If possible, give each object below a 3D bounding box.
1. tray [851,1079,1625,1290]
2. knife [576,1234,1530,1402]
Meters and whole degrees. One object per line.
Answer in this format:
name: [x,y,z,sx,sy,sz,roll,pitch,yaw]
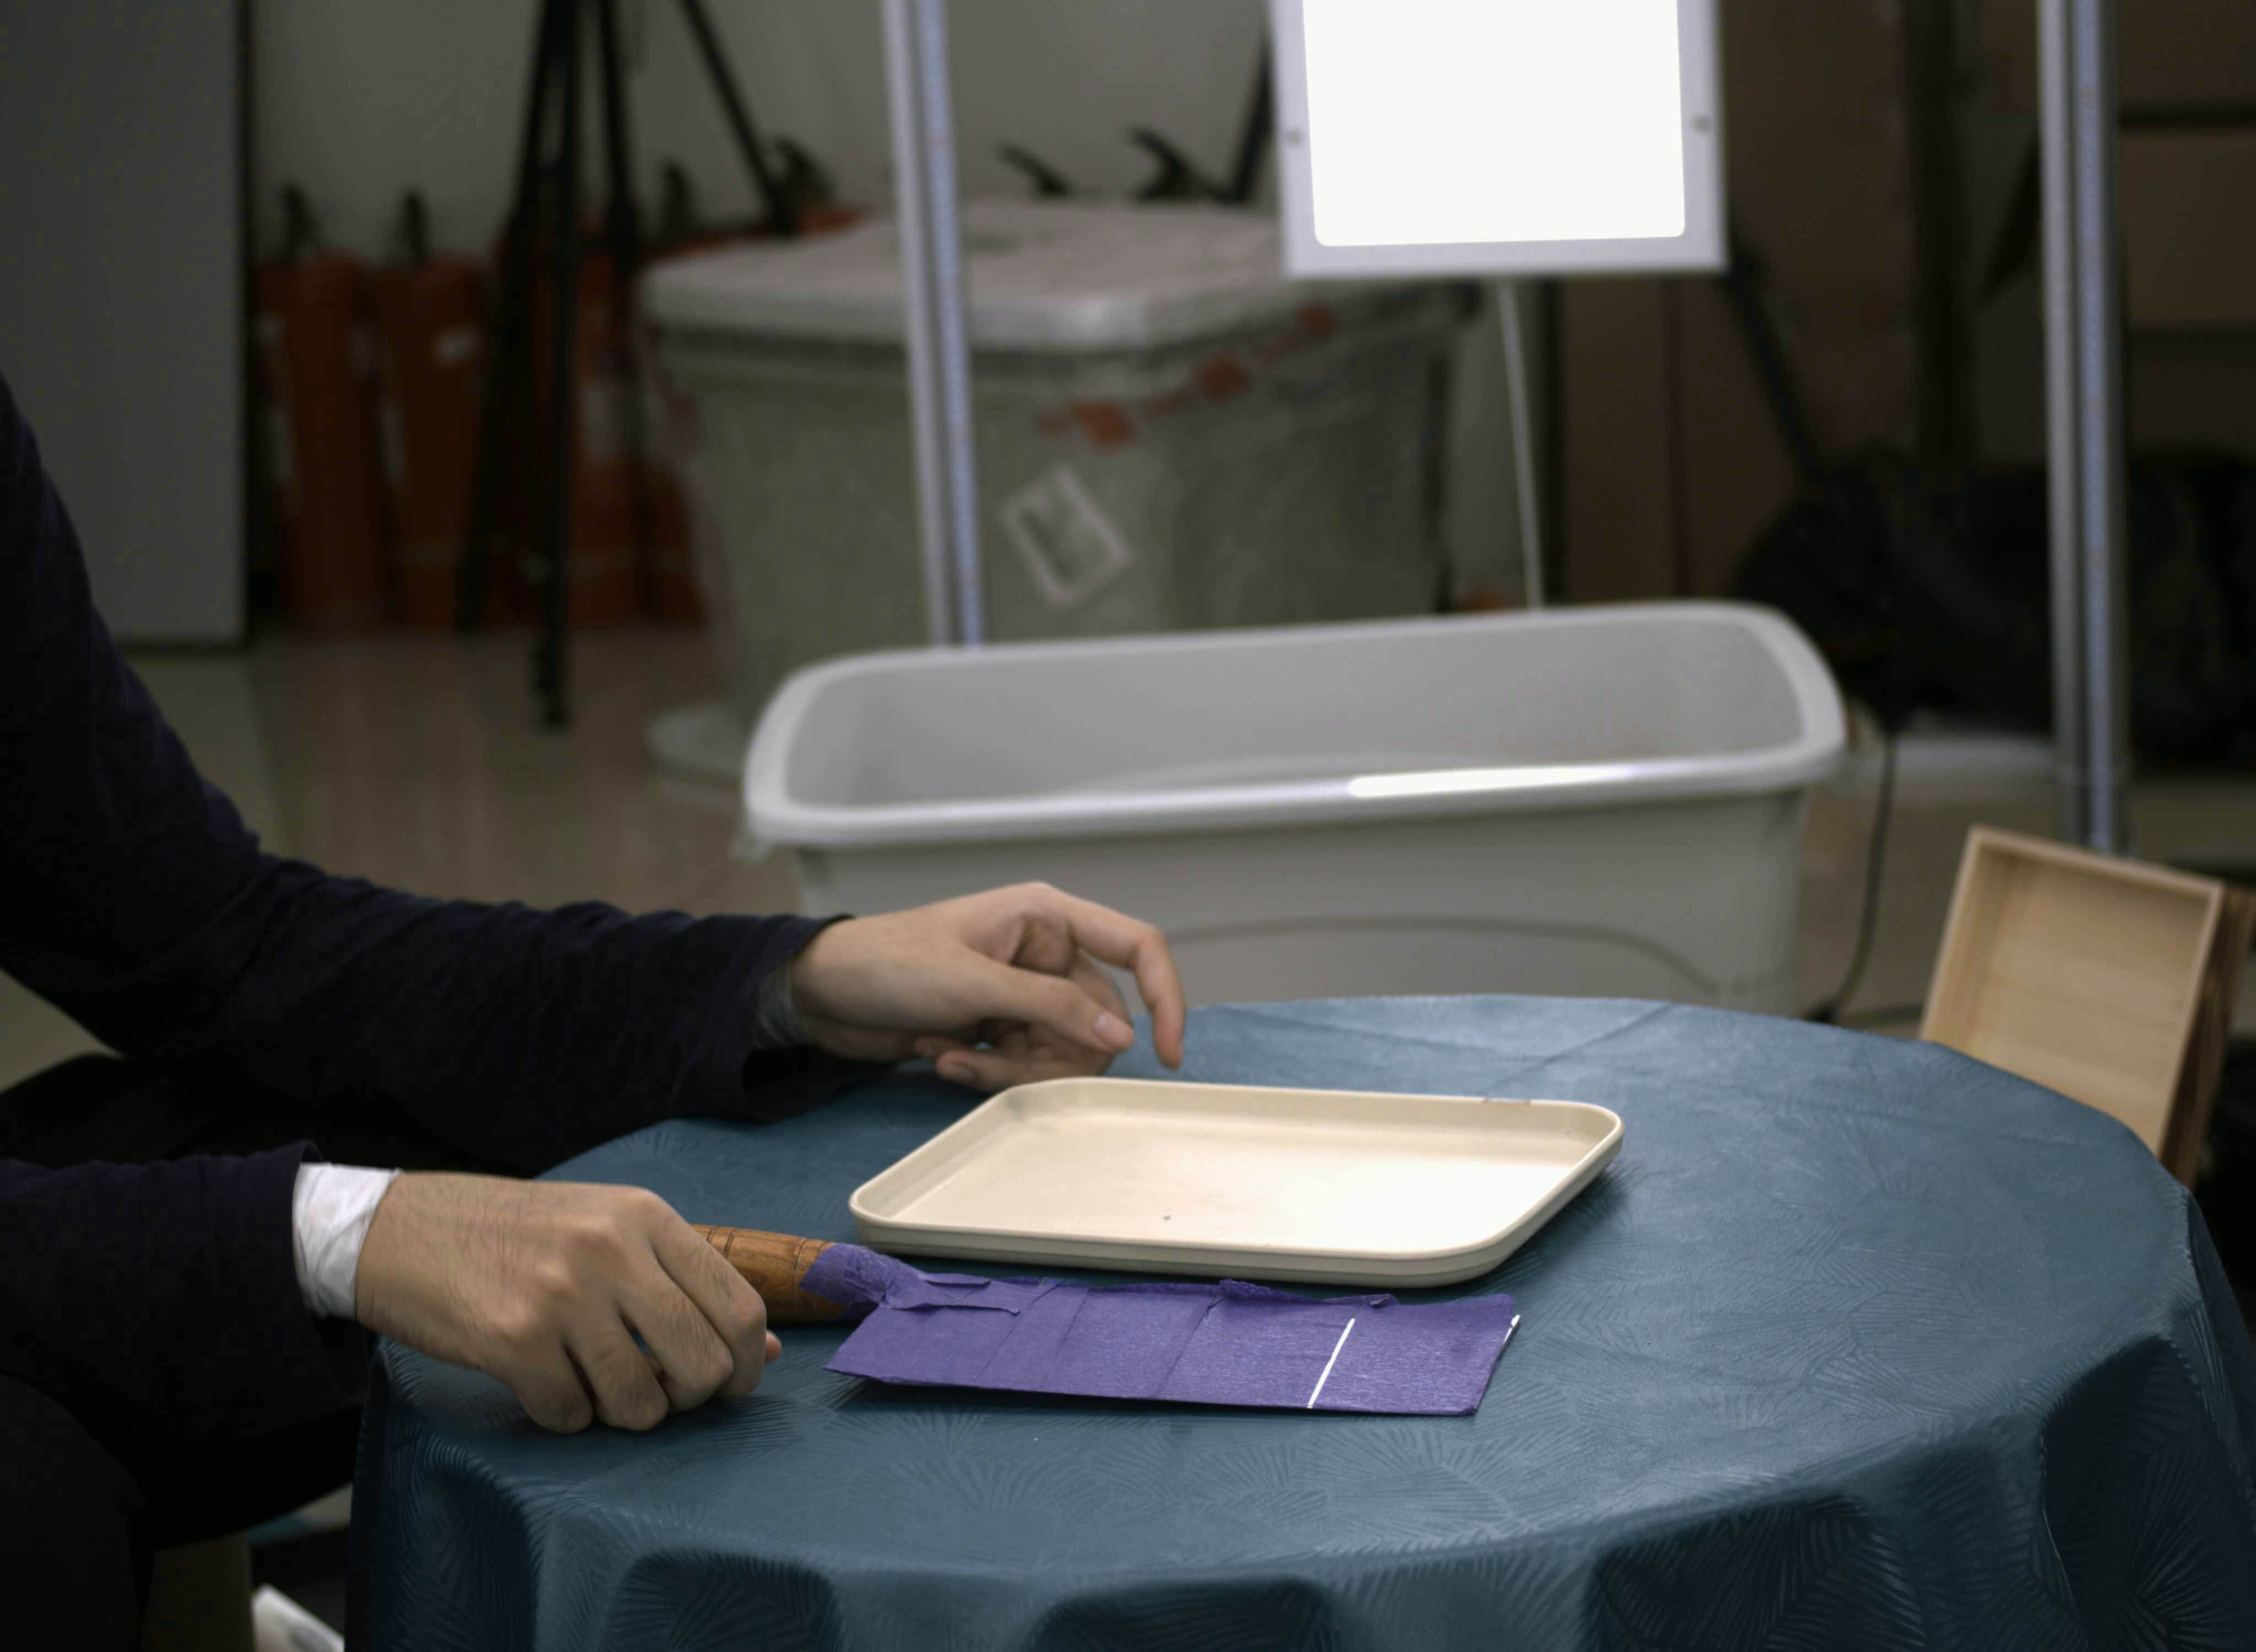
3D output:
tray: [0.039,0.121,1.873,0.244,0.017,0.168,1,16,26]
knife: [-0.034,0.156,1.740,0.318,0.032,0.102,-1,14,17]
